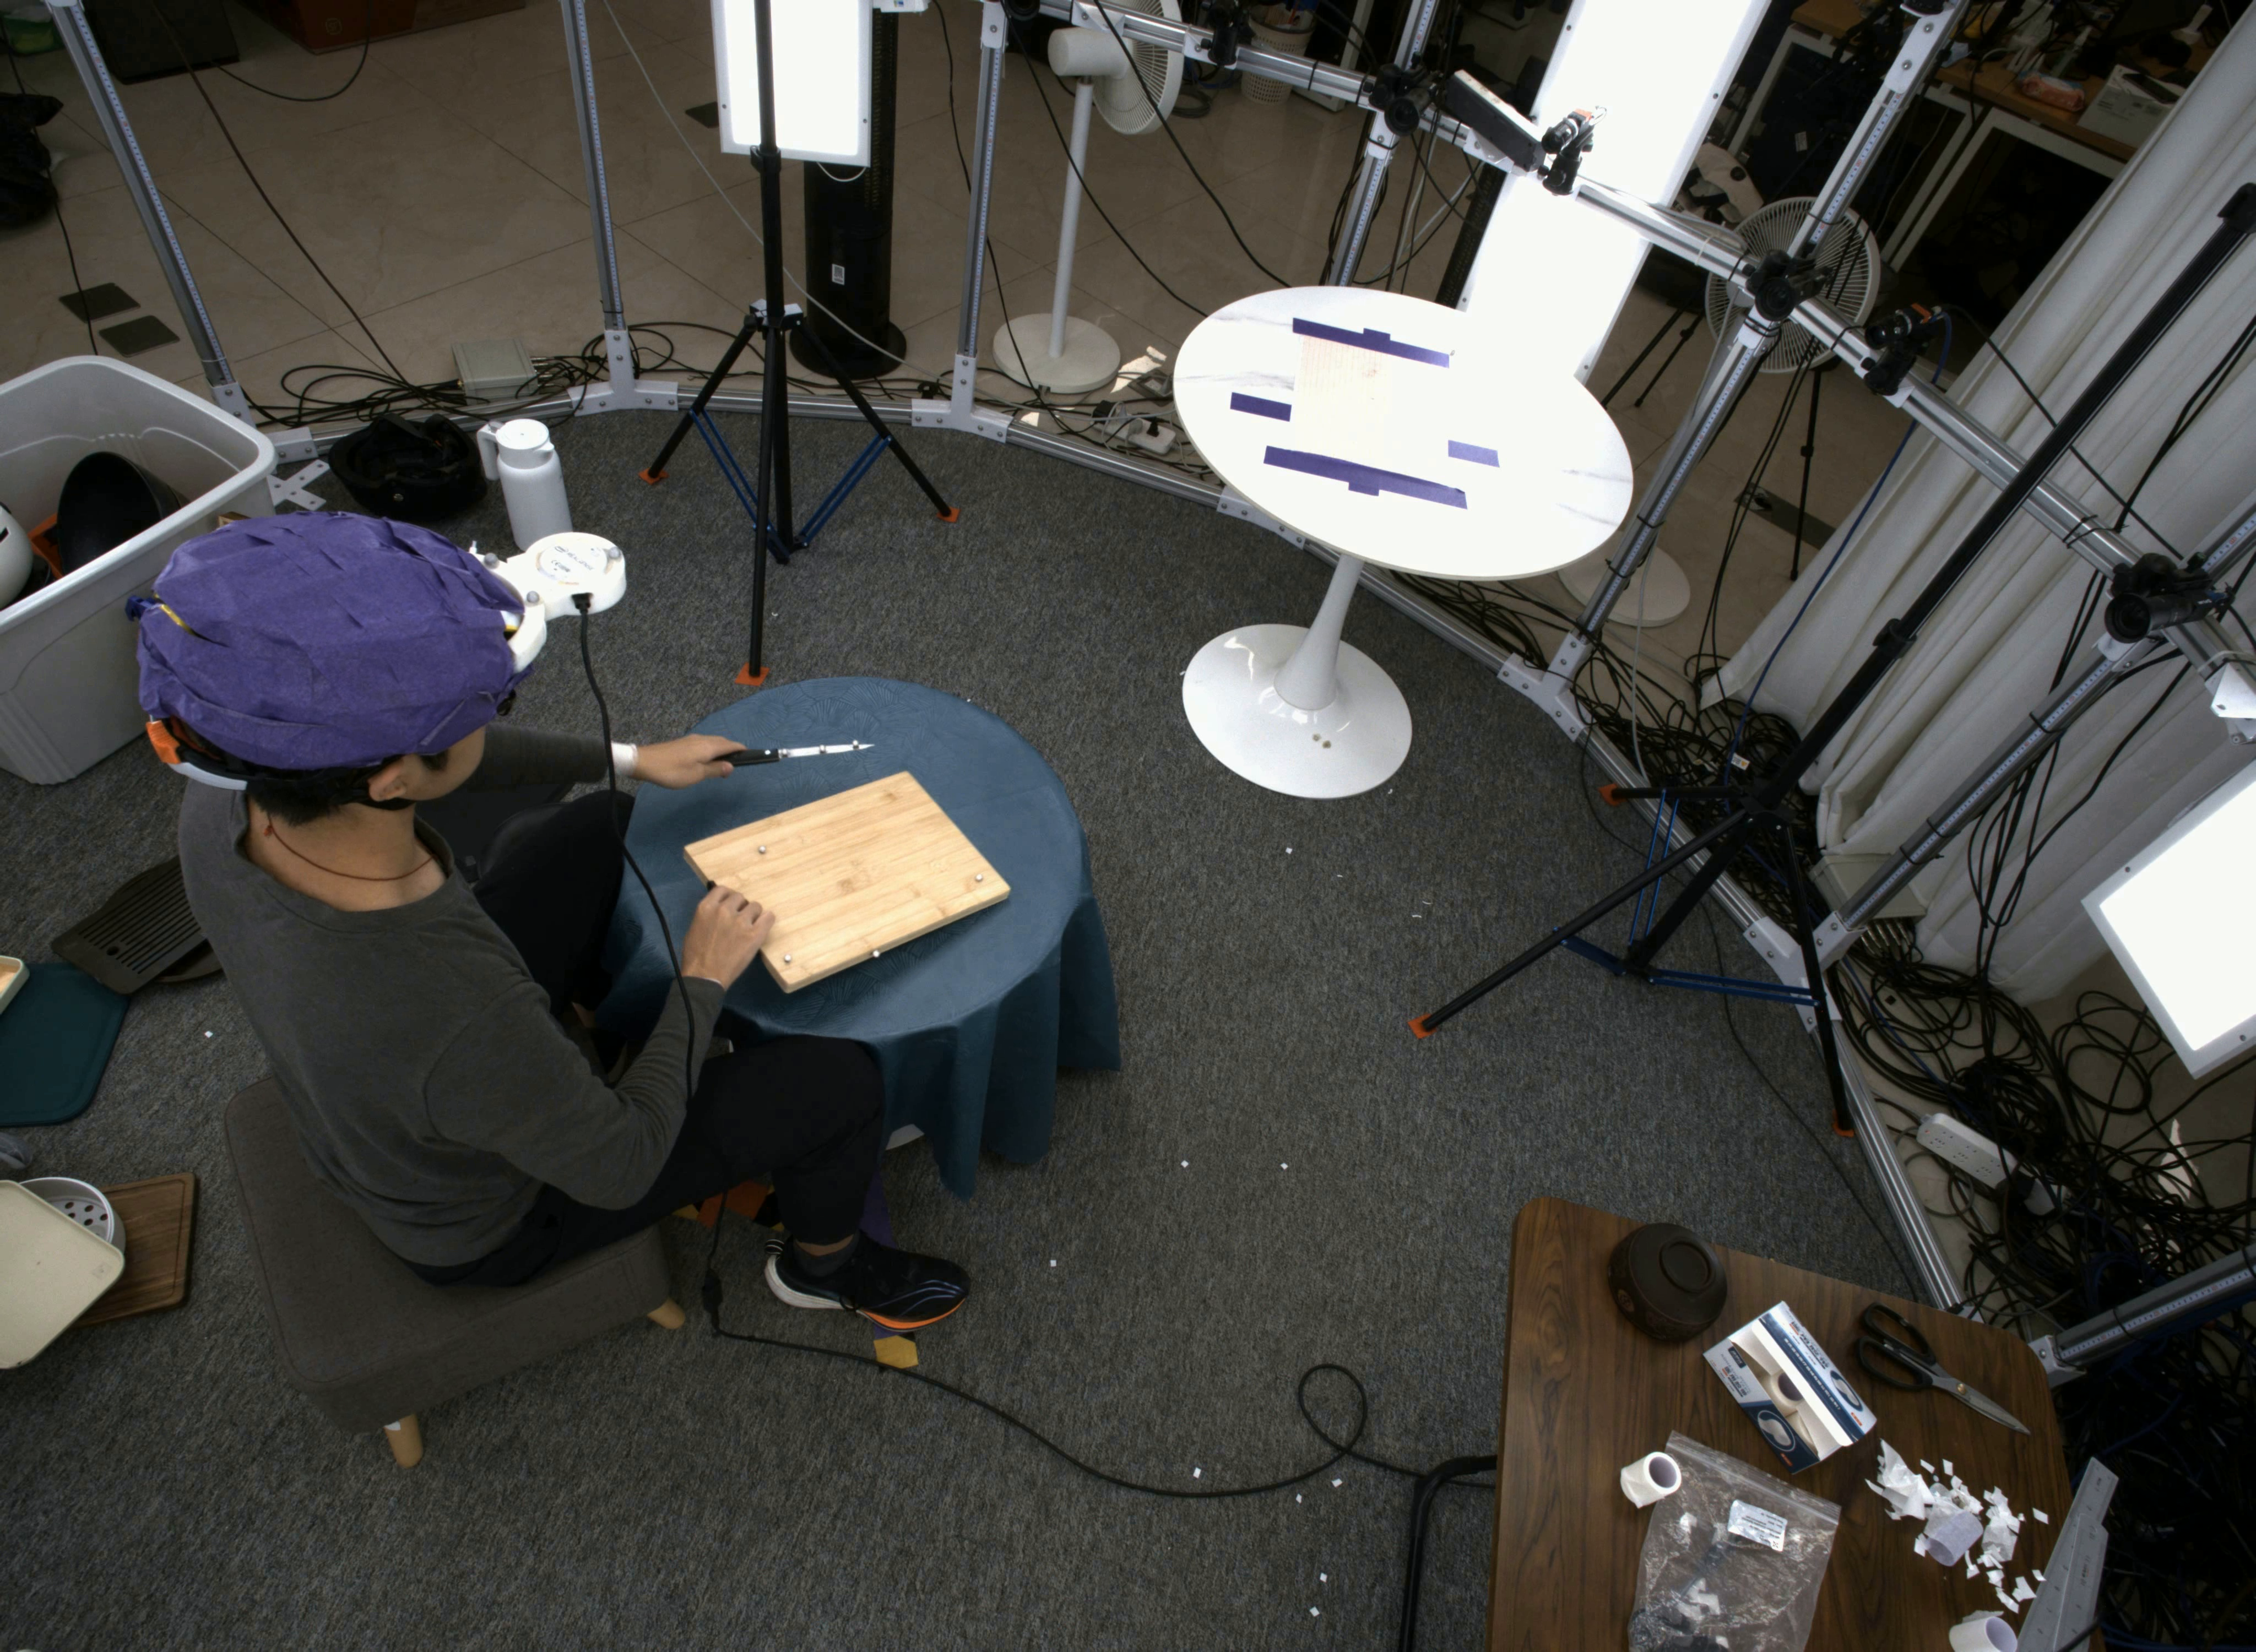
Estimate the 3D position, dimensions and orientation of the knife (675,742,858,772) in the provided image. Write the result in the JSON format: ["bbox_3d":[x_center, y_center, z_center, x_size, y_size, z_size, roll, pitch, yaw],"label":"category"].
[{"bbox_3d":[-0.473,-0.094,1.698,0.239,0.017,0.023,-8,41,-17],"label":"knife"}]

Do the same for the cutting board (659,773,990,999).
[{"bbox_3d":[-0.375,0.063,1.643,0.351,0.024,0.245,-25,62,-43],"label":"cutting board"}]
